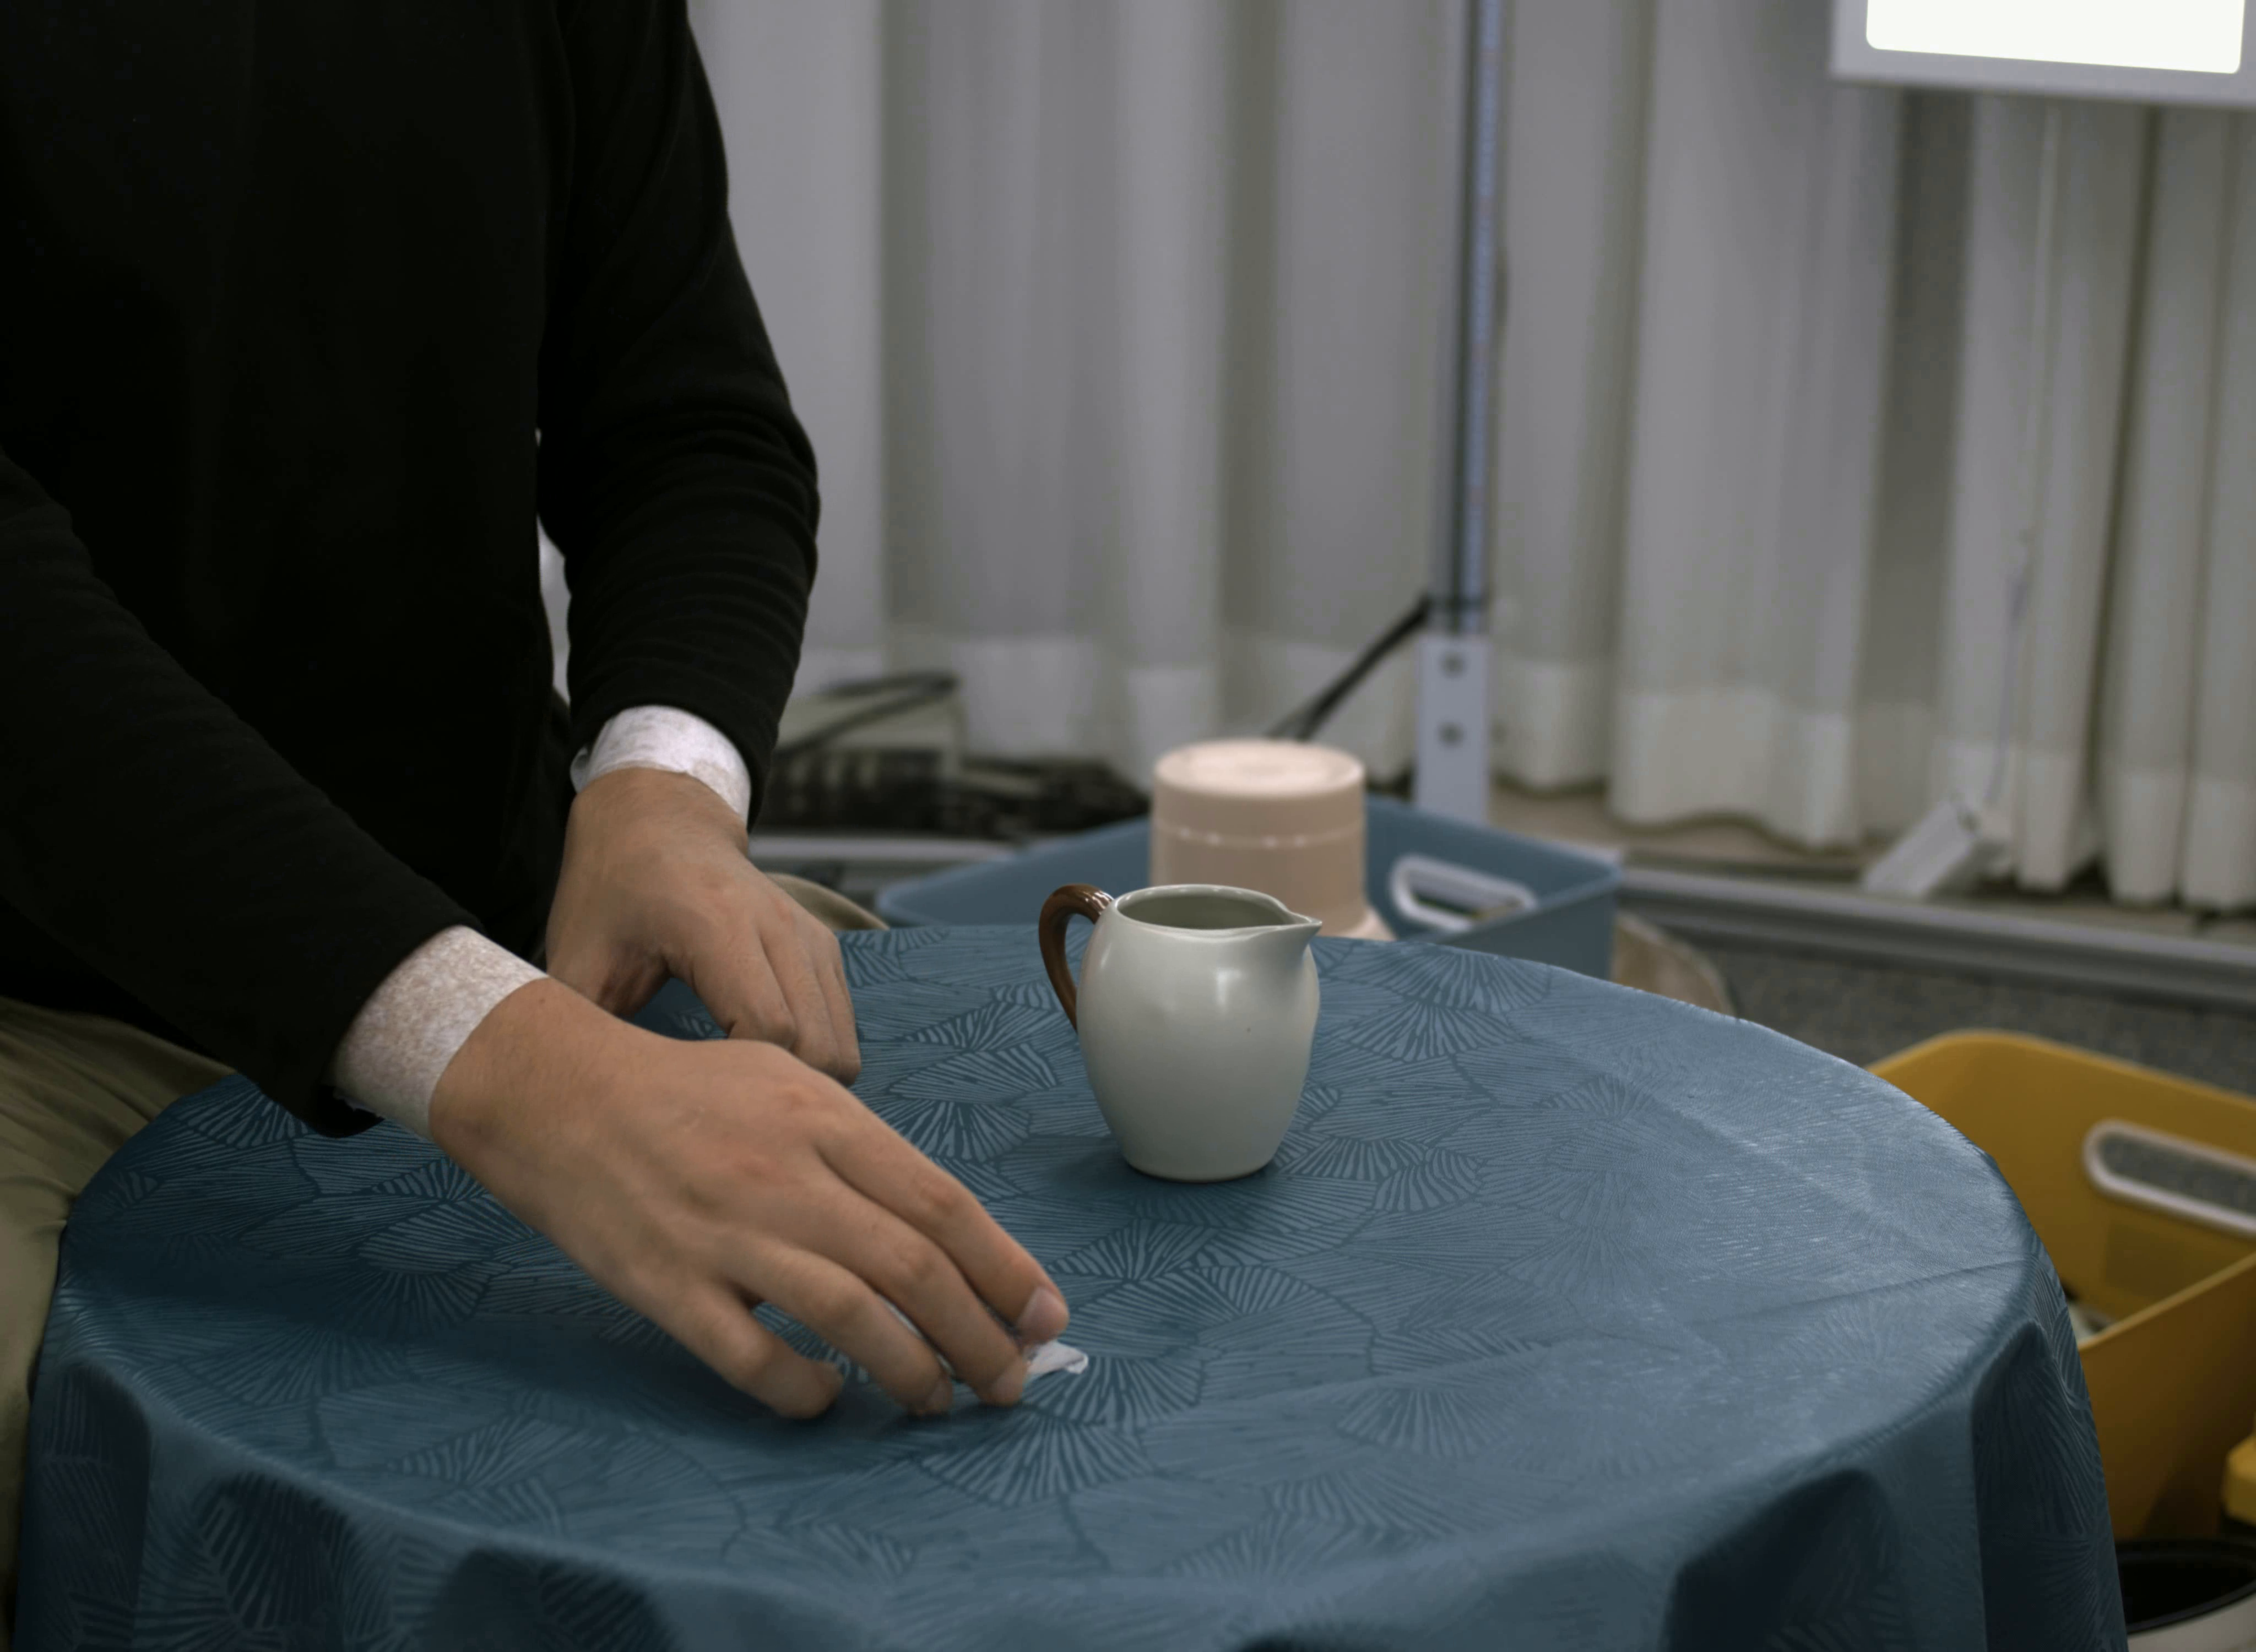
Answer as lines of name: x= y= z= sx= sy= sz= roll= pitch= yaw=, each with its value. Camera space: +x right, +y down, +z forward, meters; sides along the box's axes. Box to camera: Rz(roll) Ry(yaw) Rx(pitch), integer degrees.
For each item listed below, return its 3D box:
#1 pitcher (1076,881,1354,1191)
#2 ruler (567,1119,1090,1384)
pitcher: x=0.024 y=0.063 z=1.636 sx=0.076 sy=0.088 sz=0.117 roll=-10 pitch=20 yaw=-42
ruler: x=-0.095 y=0.121 z=1.541 sx=0.038 sy=0.024 sz=0.215 roll=-21 pitch=24 yaw=-37
